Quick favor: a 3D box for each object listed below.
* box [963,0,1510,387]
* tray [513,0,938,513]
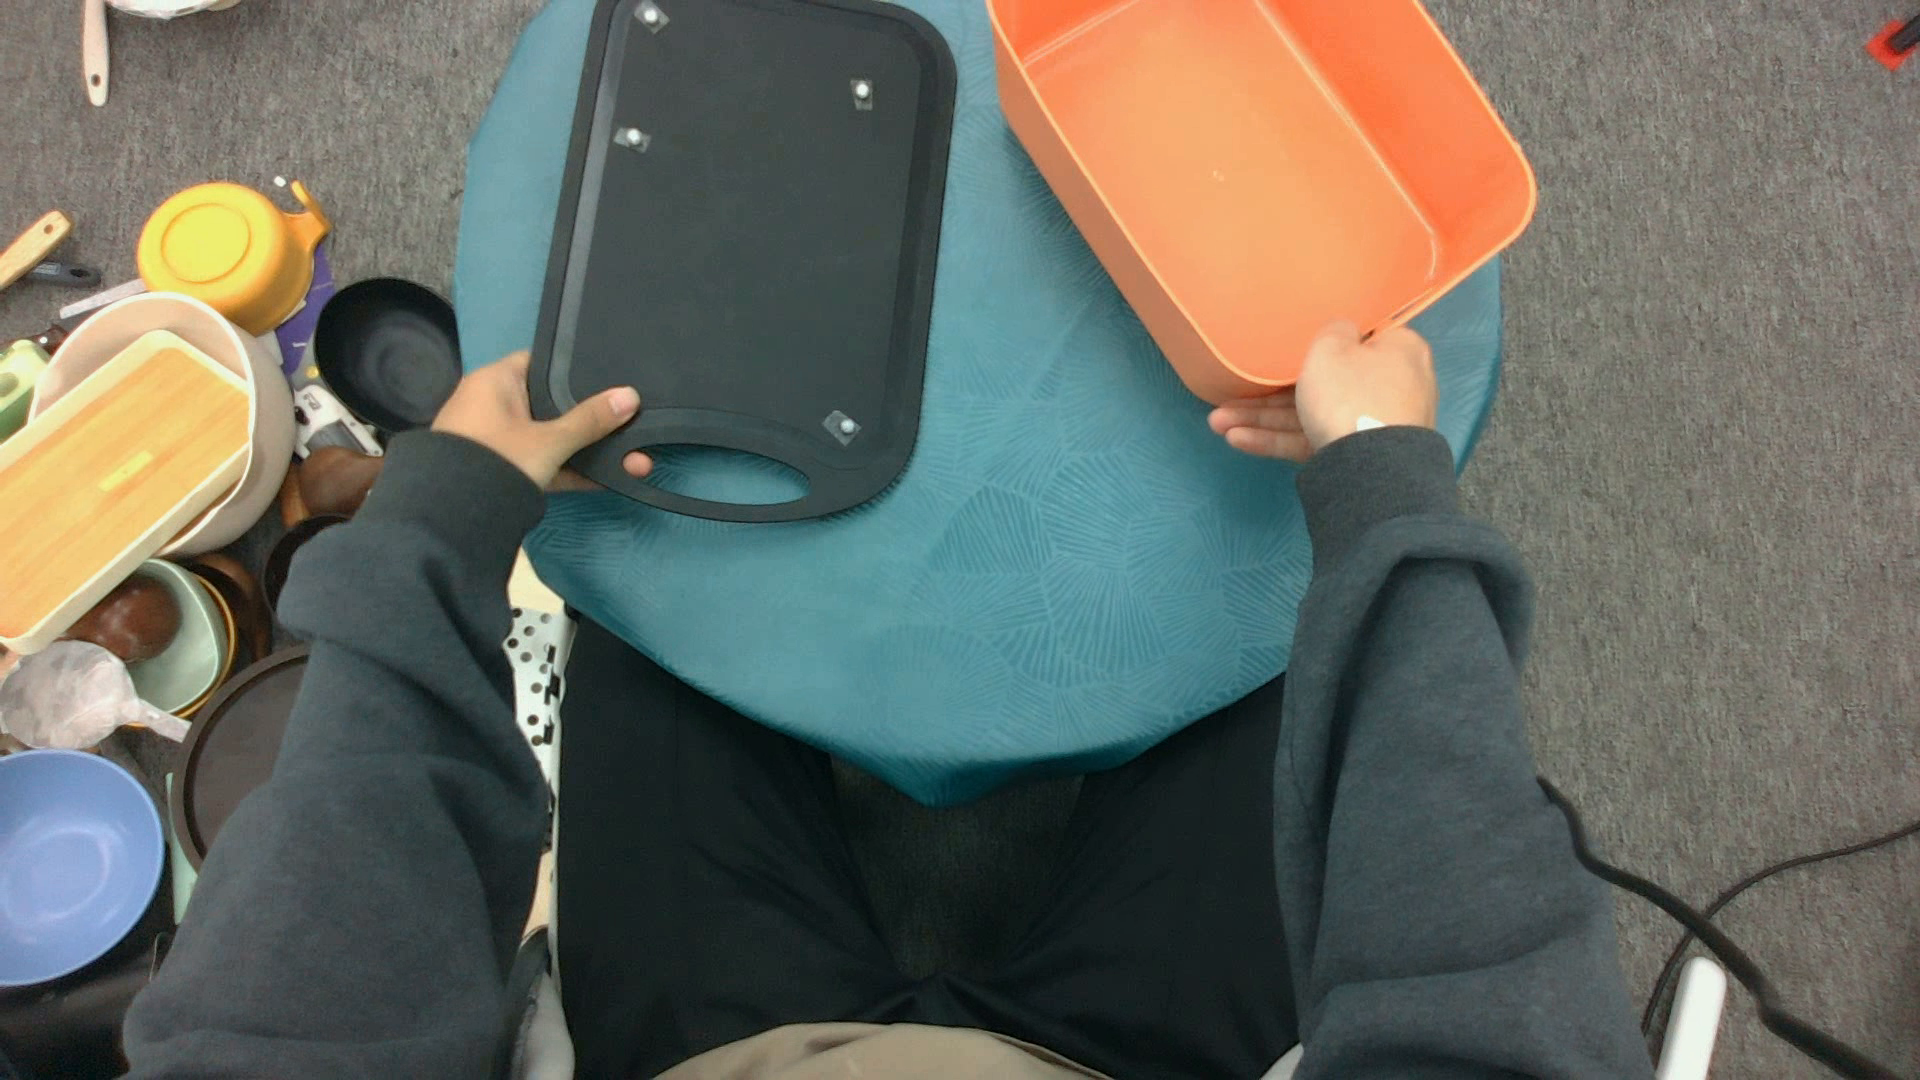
[{"bbox_3d":[0.135,-0.226,0.740,0.199,0.102,0.273,-32,82,-8],"label":"box"},{"bbox_3d":[-0.125,-0.174,0.769,0.211,0.010,0.326,7,76,-8],"label":"tray"}]
